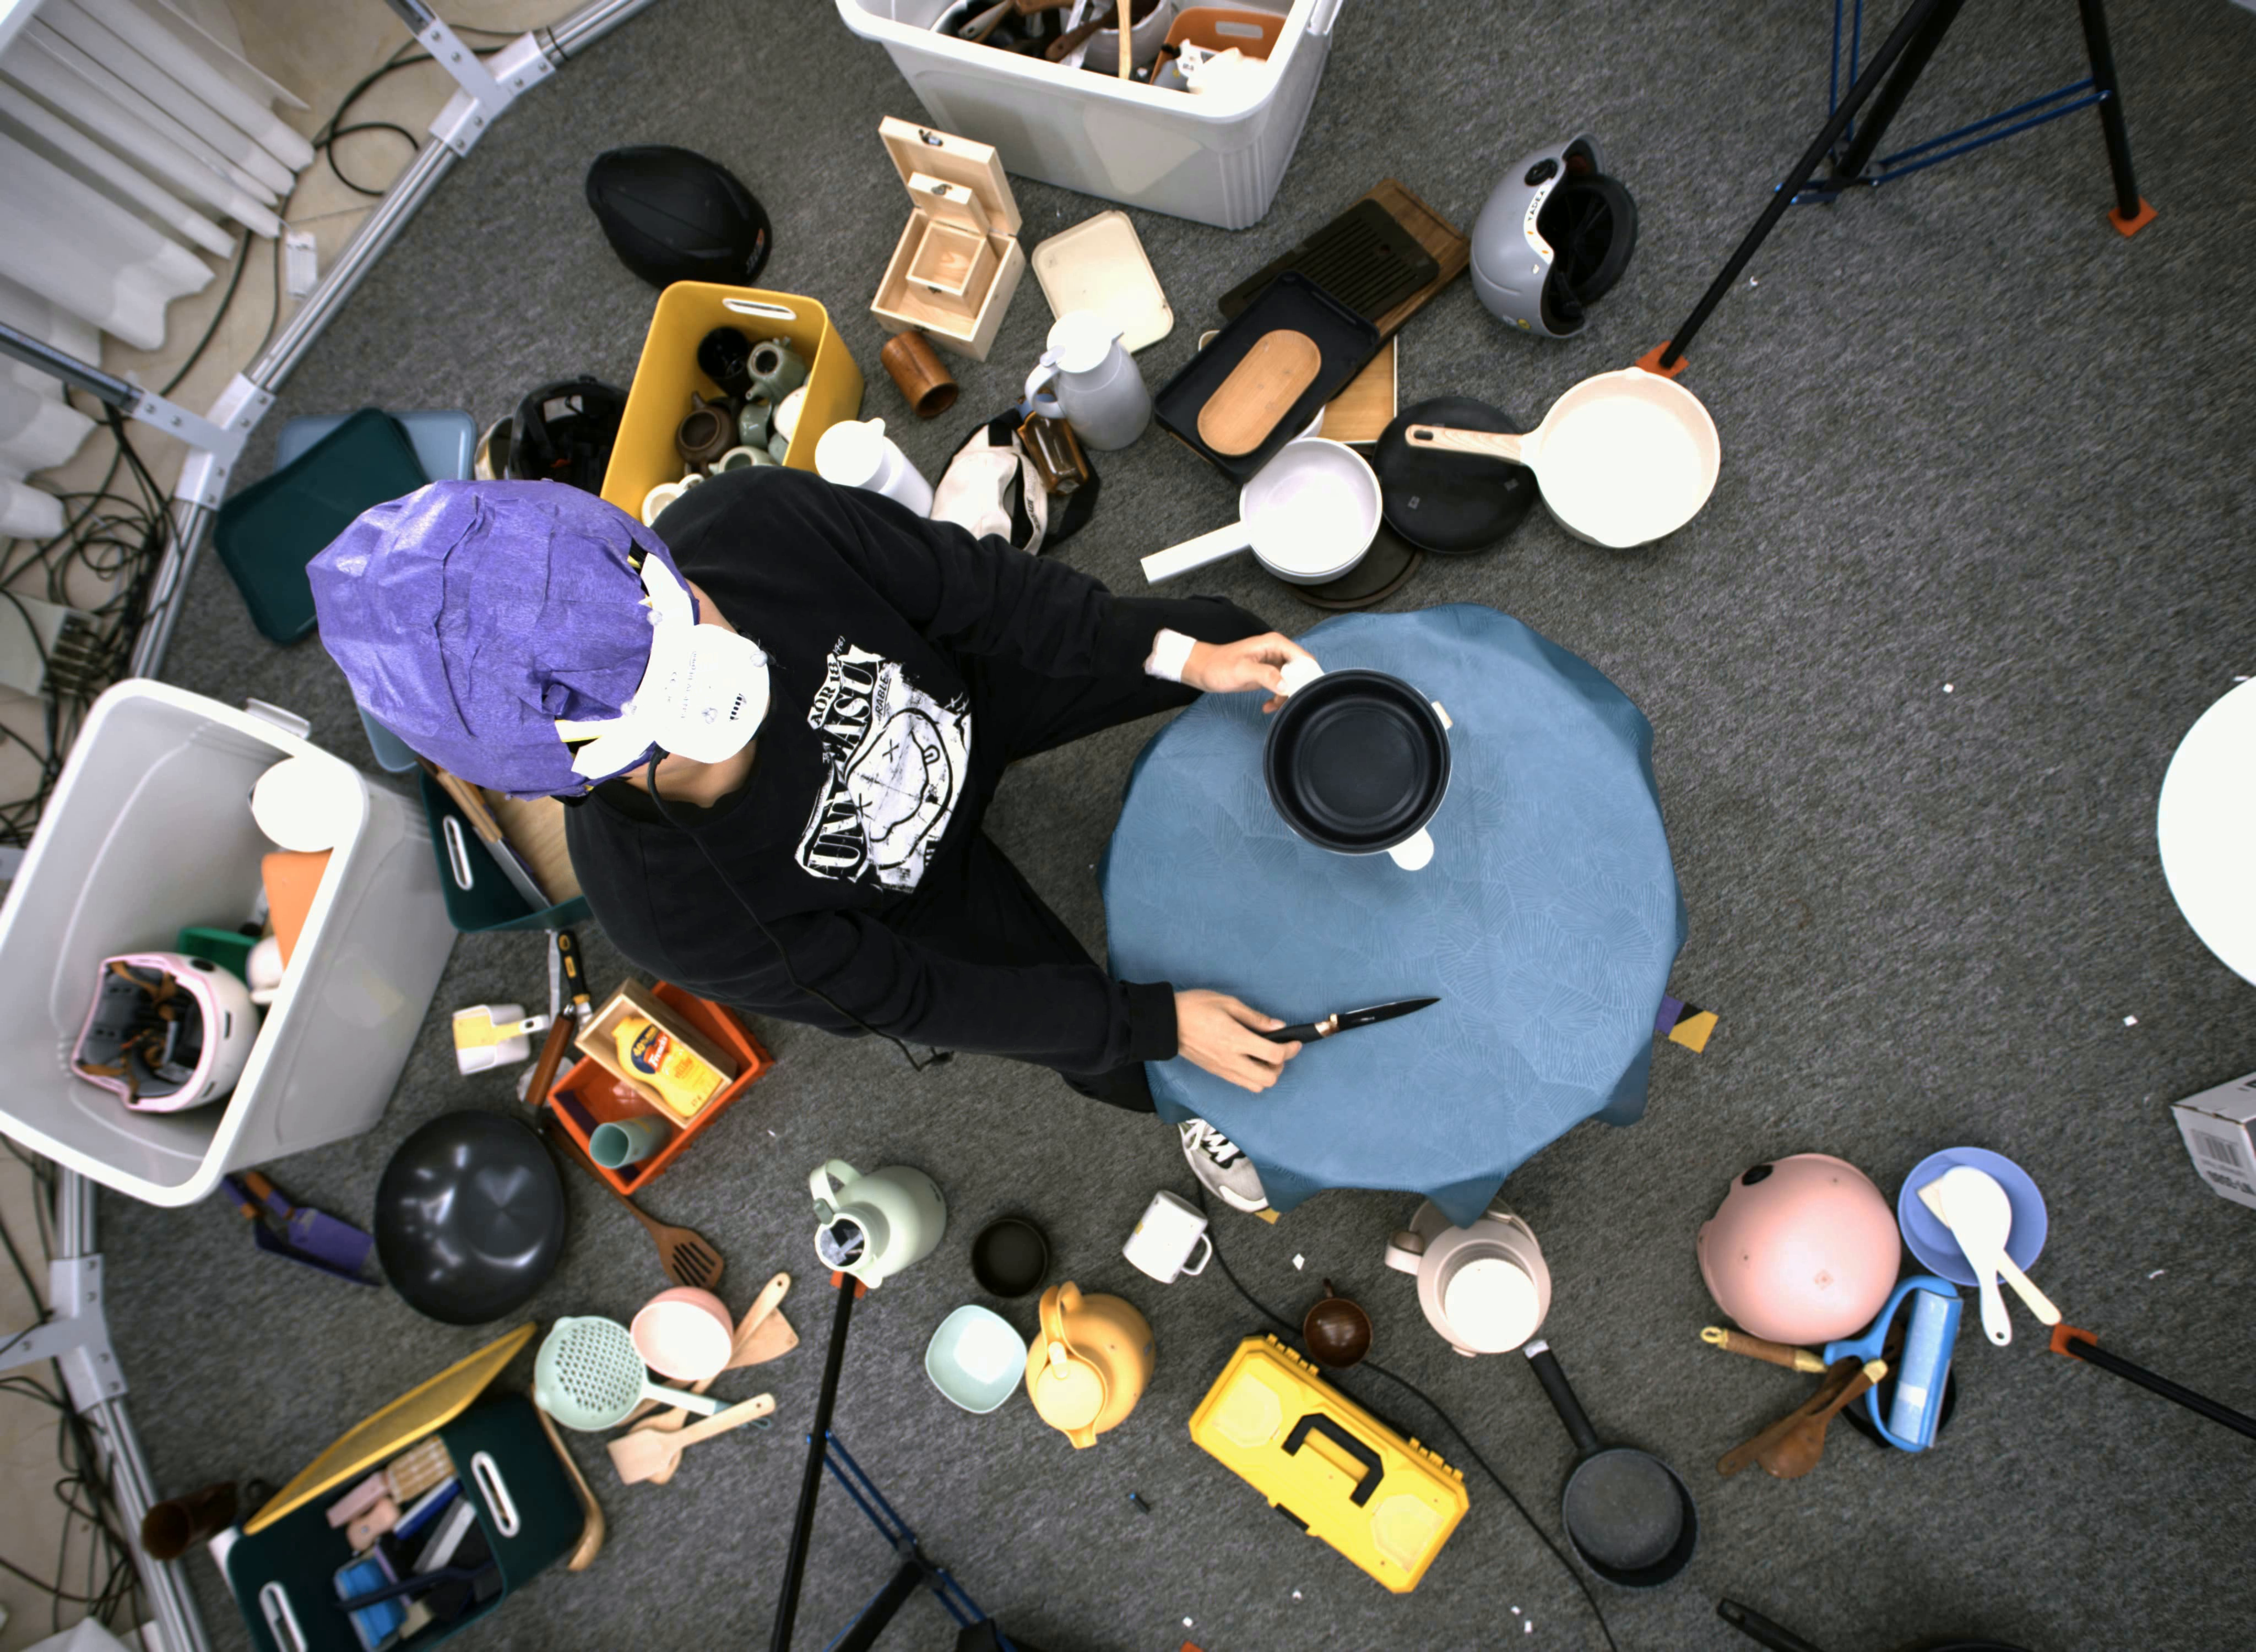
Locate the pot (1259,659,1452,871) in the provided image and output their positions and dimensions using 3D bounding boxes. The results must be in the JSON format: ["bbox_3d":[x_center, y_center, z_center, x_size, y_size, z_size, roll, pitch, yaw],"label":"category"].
[{"bbox_3d":[0.238,-0.067,1.396,0.193,0.141,0.239,-34,86,16],"label":"pot"}]

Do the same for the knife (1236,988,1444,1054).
[{"bbox_3d":[0.221,0.202,1.445,0.226,0.017,0.026,-14,112,2],"label":"knife"}]
